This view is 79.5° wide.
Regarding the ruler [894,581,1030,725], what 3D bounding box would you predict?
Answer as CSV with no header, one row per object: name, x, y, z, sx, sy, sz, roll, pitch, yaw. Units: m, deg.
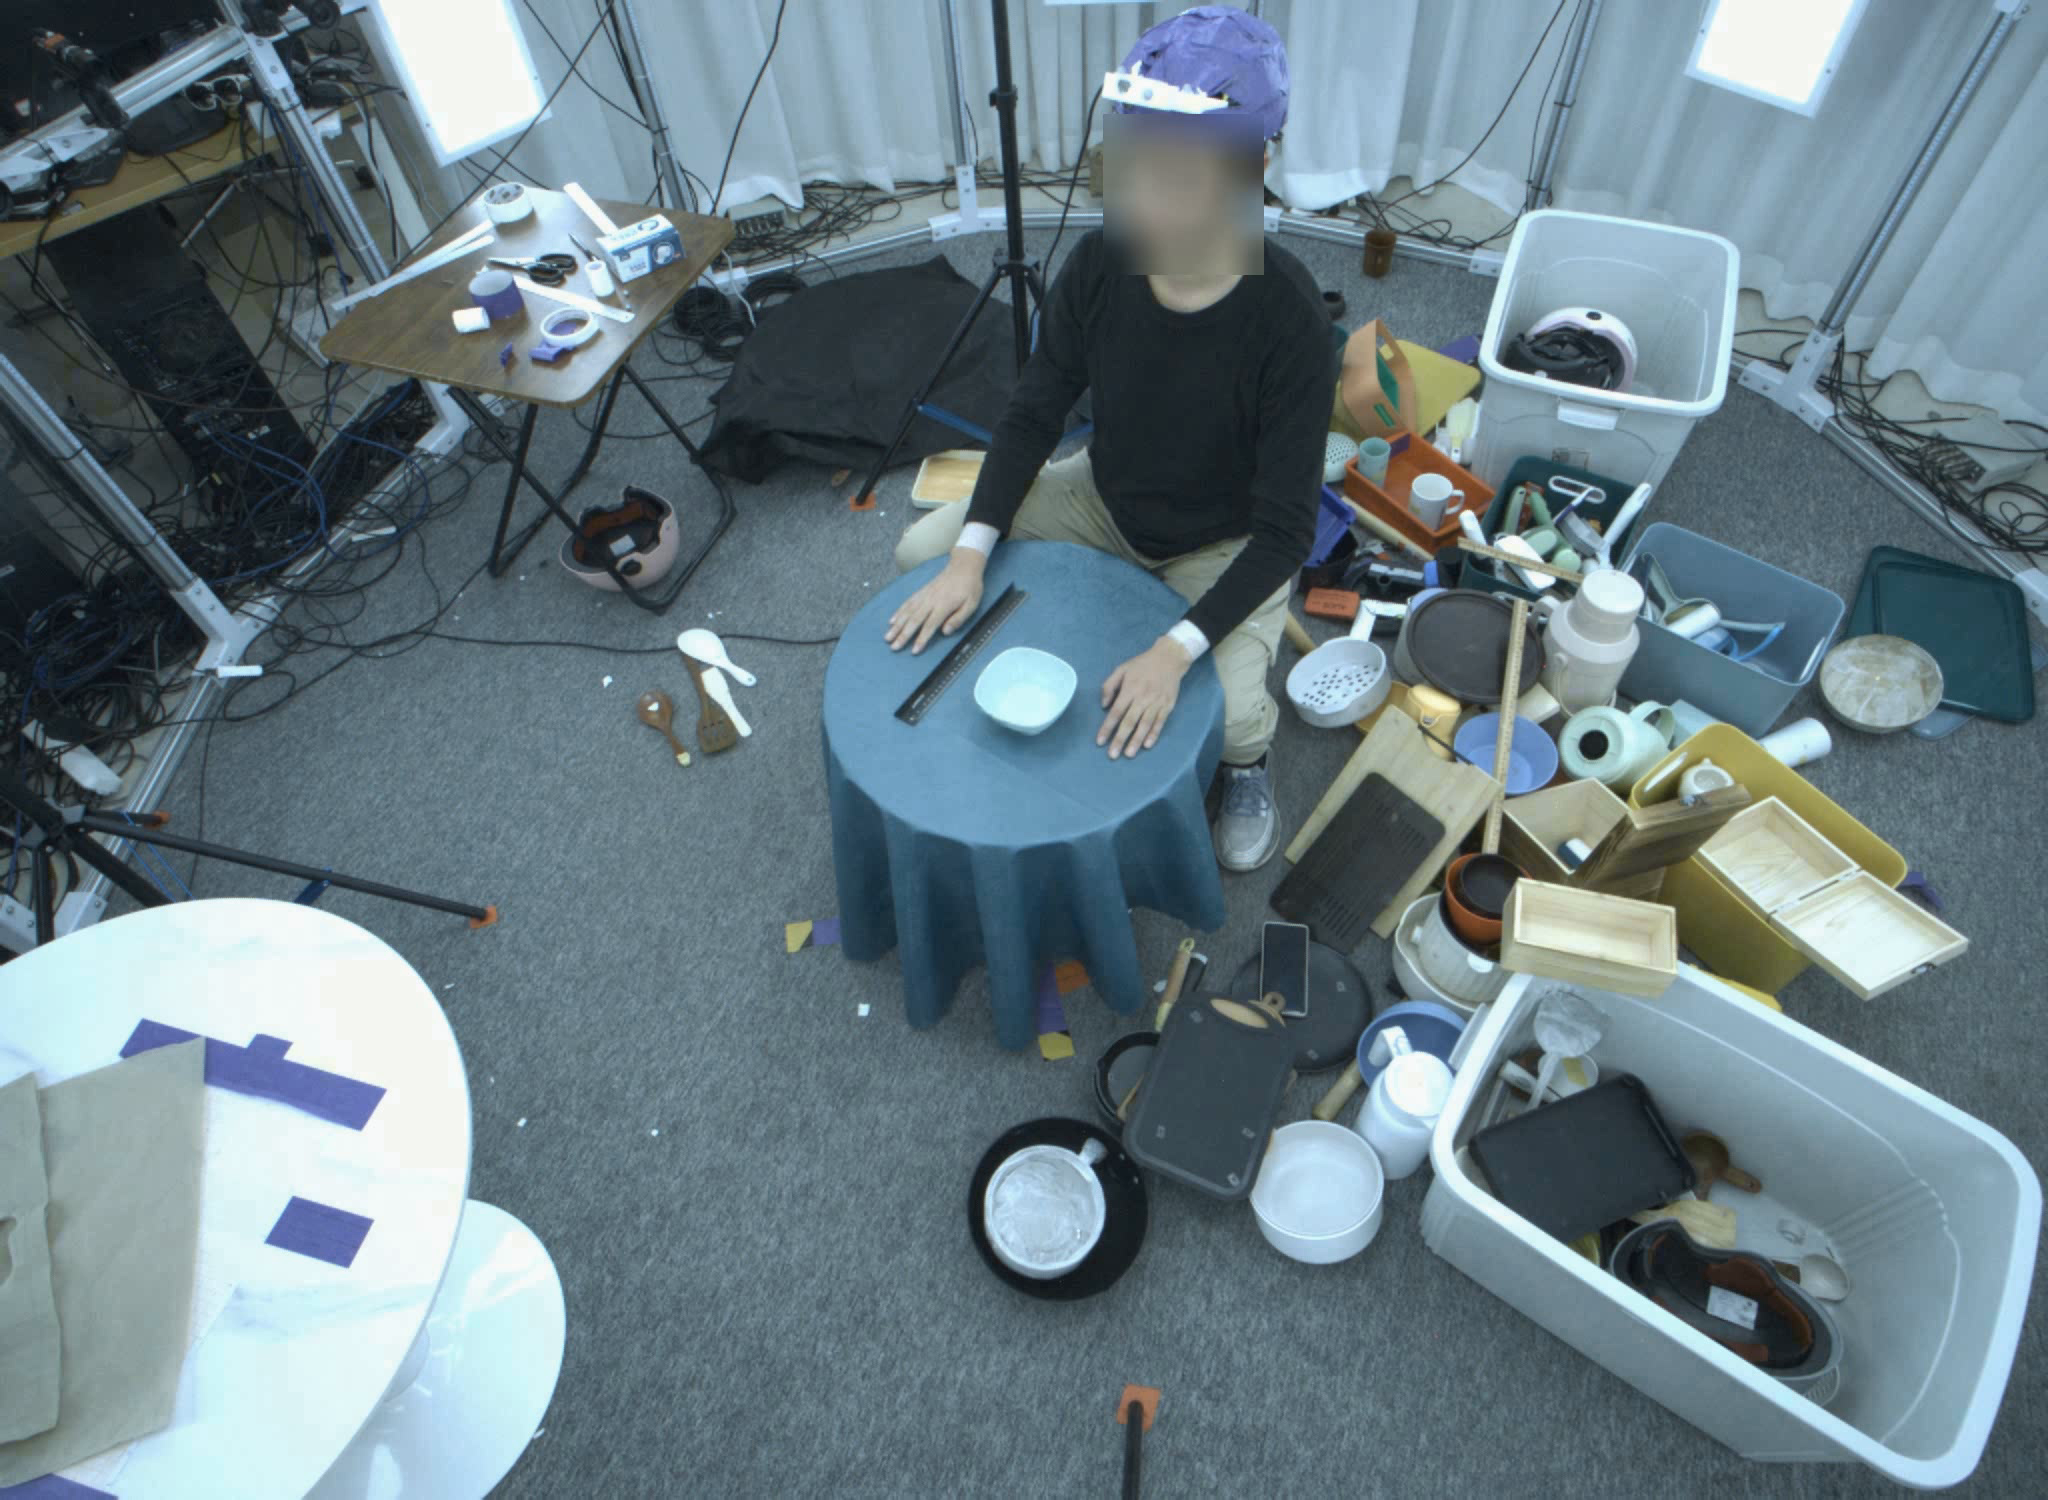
ruler,-0.093,-0.154,1.890,0.039,0.017,0.314,30,61,17

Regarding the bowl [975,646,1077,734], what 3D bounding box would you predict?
bowl,0.005,-0.078,1.808,0.151,0.059,0.150,-1,56,3
